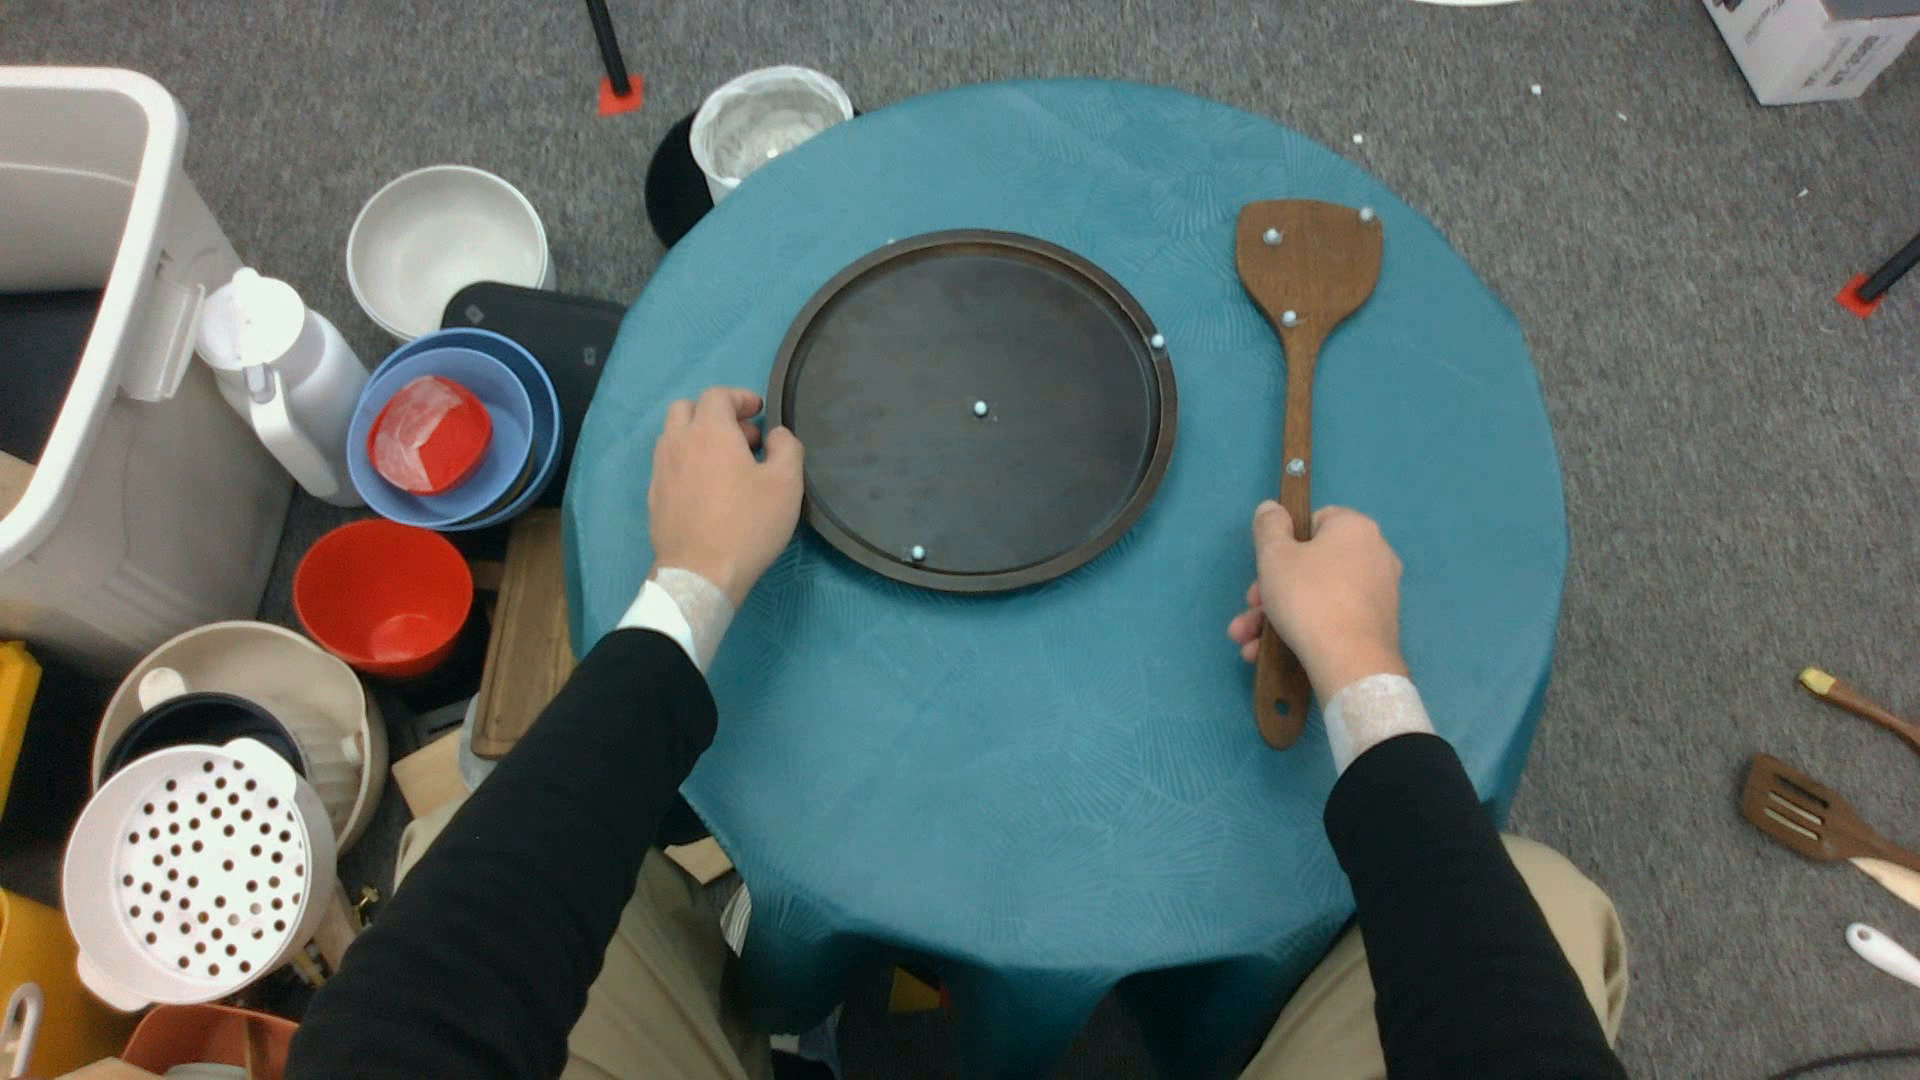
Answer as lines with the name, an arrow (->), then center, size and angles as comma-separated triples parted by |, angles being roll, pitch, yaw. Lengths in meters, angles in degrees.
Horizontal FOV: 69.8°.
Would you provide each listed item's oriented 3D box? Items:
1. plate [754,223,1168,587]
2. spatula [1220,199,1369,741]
plate -> 0.000, -0.087, 0.845 | 0.255, 0.029, 0.255 | 1, 65, -1
spatula -> 0.195, -0.061, 0.824 | 0.096, 0.016, 0.387 | 8, 60, 4
